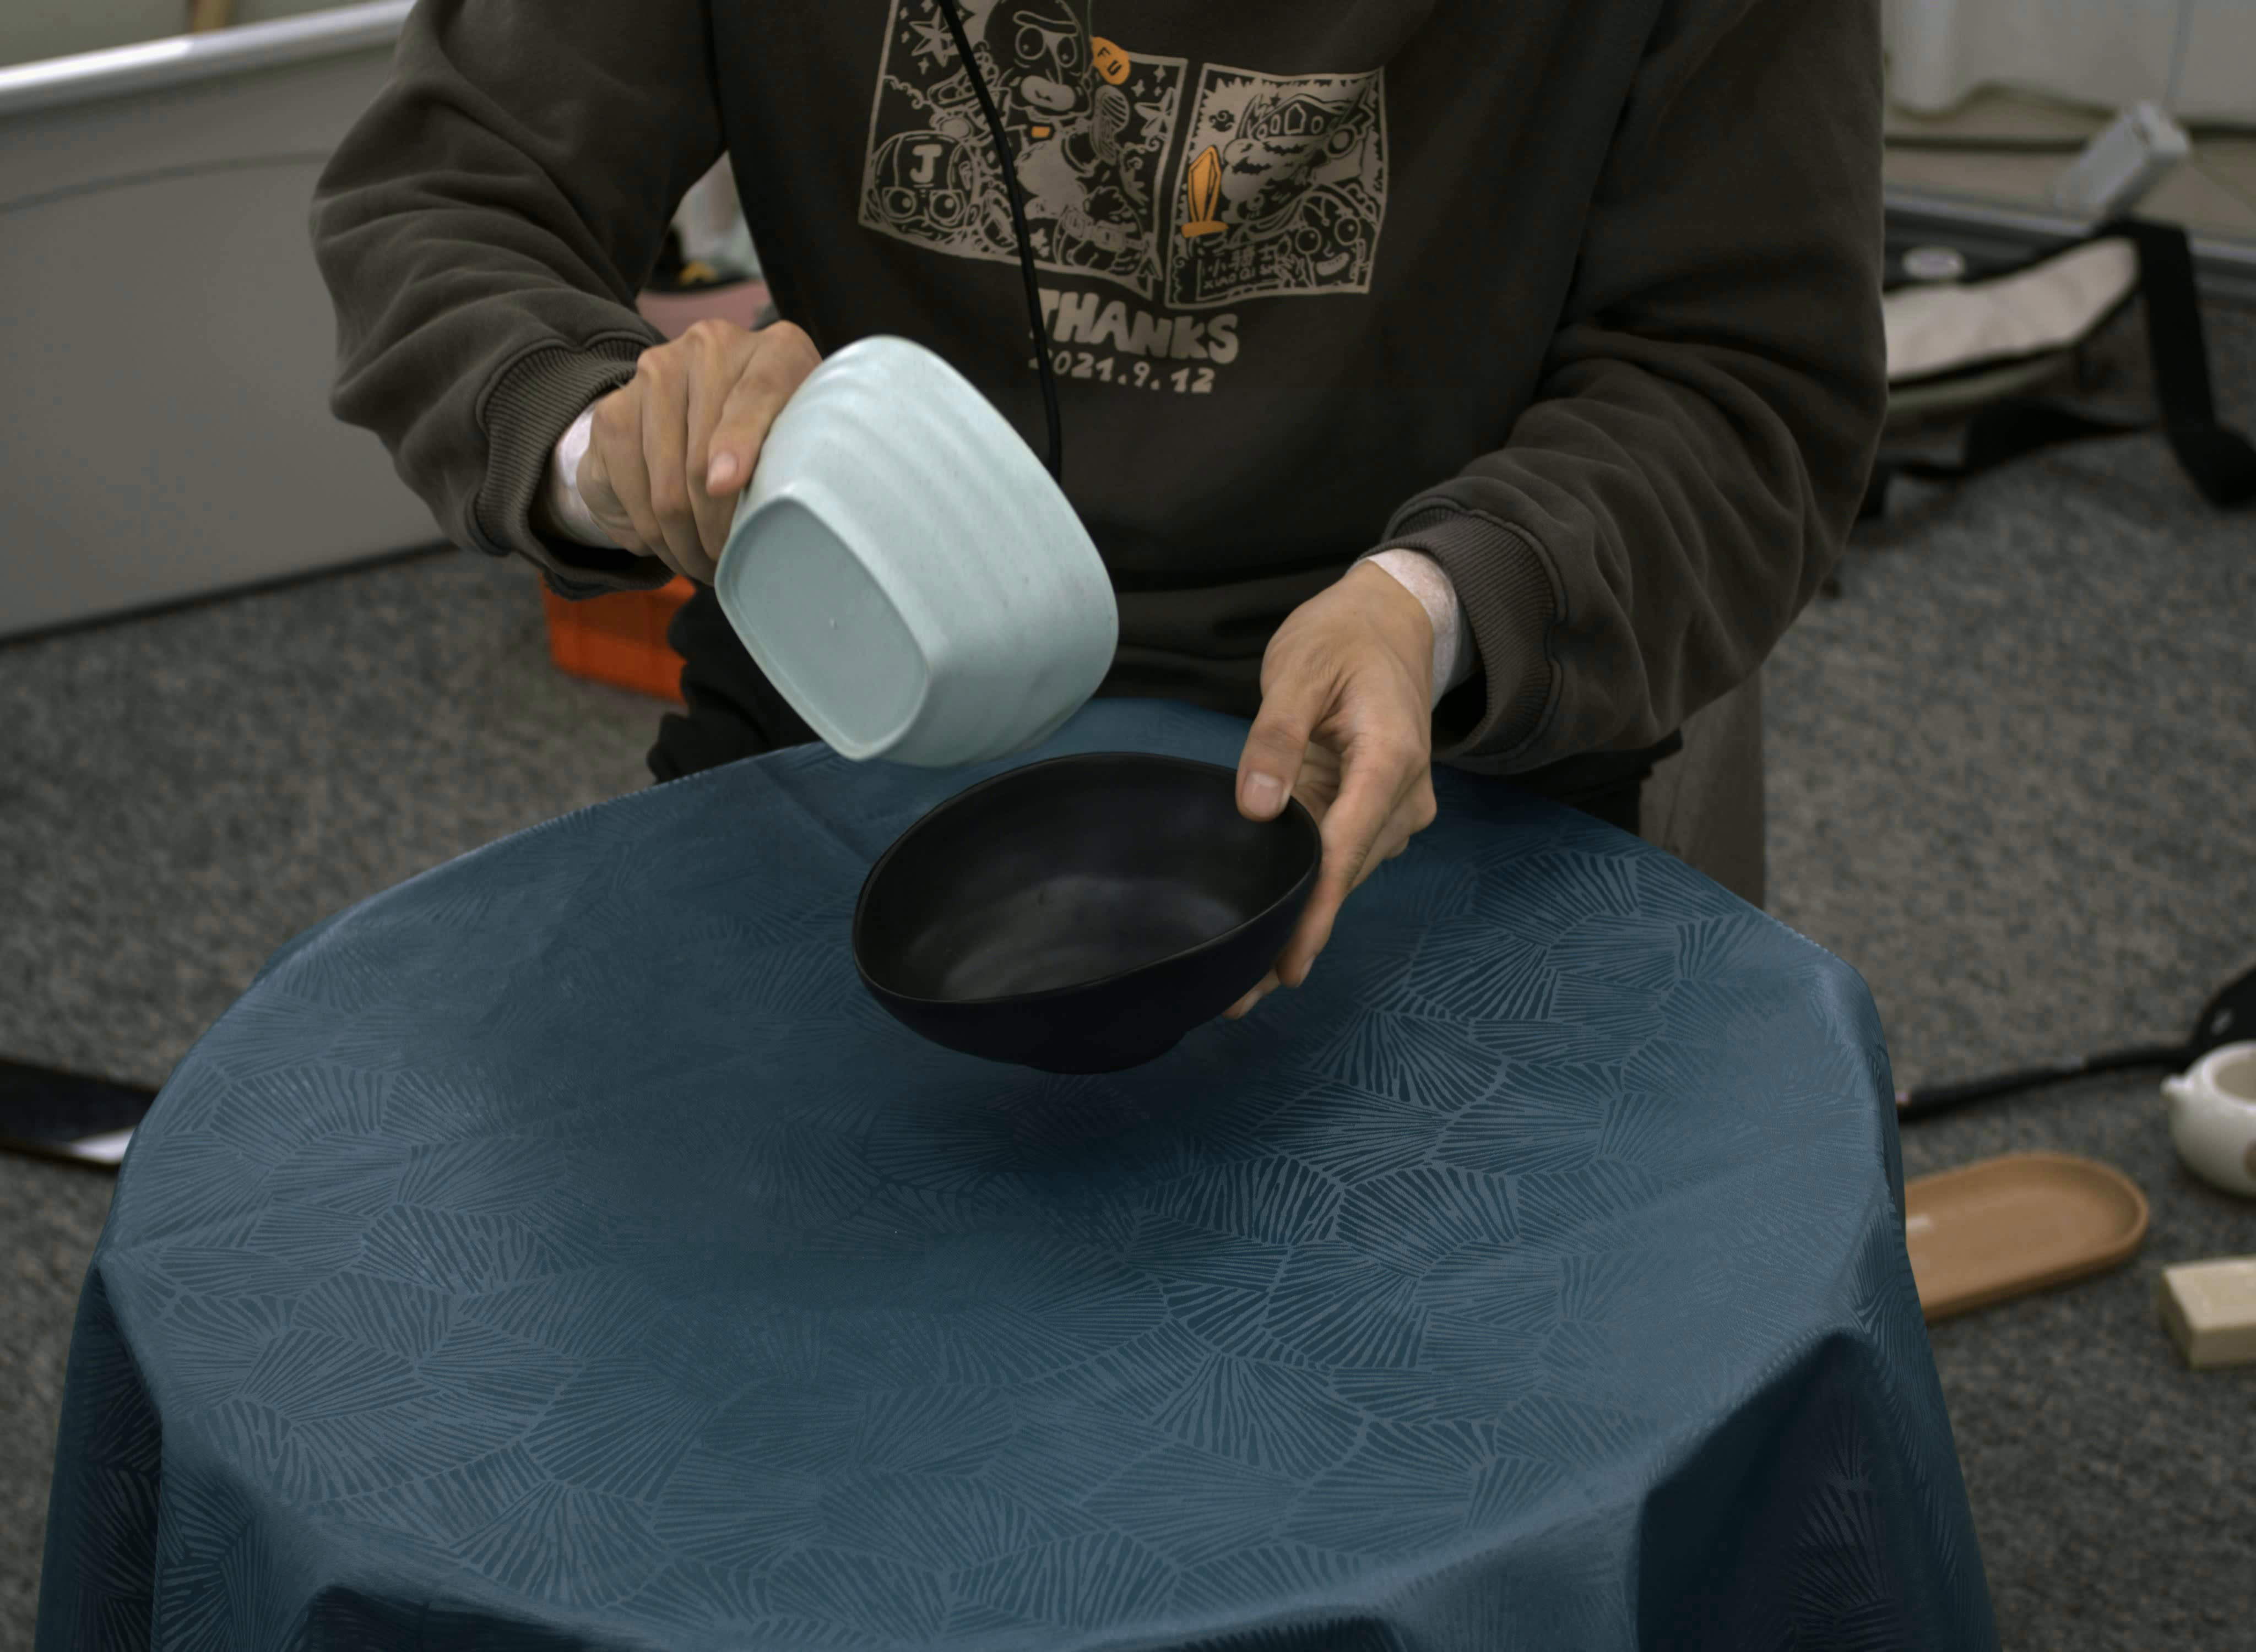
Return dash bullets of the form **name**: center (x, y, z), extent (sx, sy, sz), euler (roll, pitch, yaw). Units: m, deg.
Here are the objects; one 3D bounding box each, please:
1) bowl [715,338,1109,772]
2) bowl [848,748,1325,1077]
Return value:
- **bowl**: center (-0.078, -0.074, 1.774), extent (0.151, 0.149, 0.059), euler (23, 44, 40)
- **bowl**: center (-0.011, 0.040, 1.884), extent (0.172, 0.066, 0.137), euler (-24, 36, -29)
